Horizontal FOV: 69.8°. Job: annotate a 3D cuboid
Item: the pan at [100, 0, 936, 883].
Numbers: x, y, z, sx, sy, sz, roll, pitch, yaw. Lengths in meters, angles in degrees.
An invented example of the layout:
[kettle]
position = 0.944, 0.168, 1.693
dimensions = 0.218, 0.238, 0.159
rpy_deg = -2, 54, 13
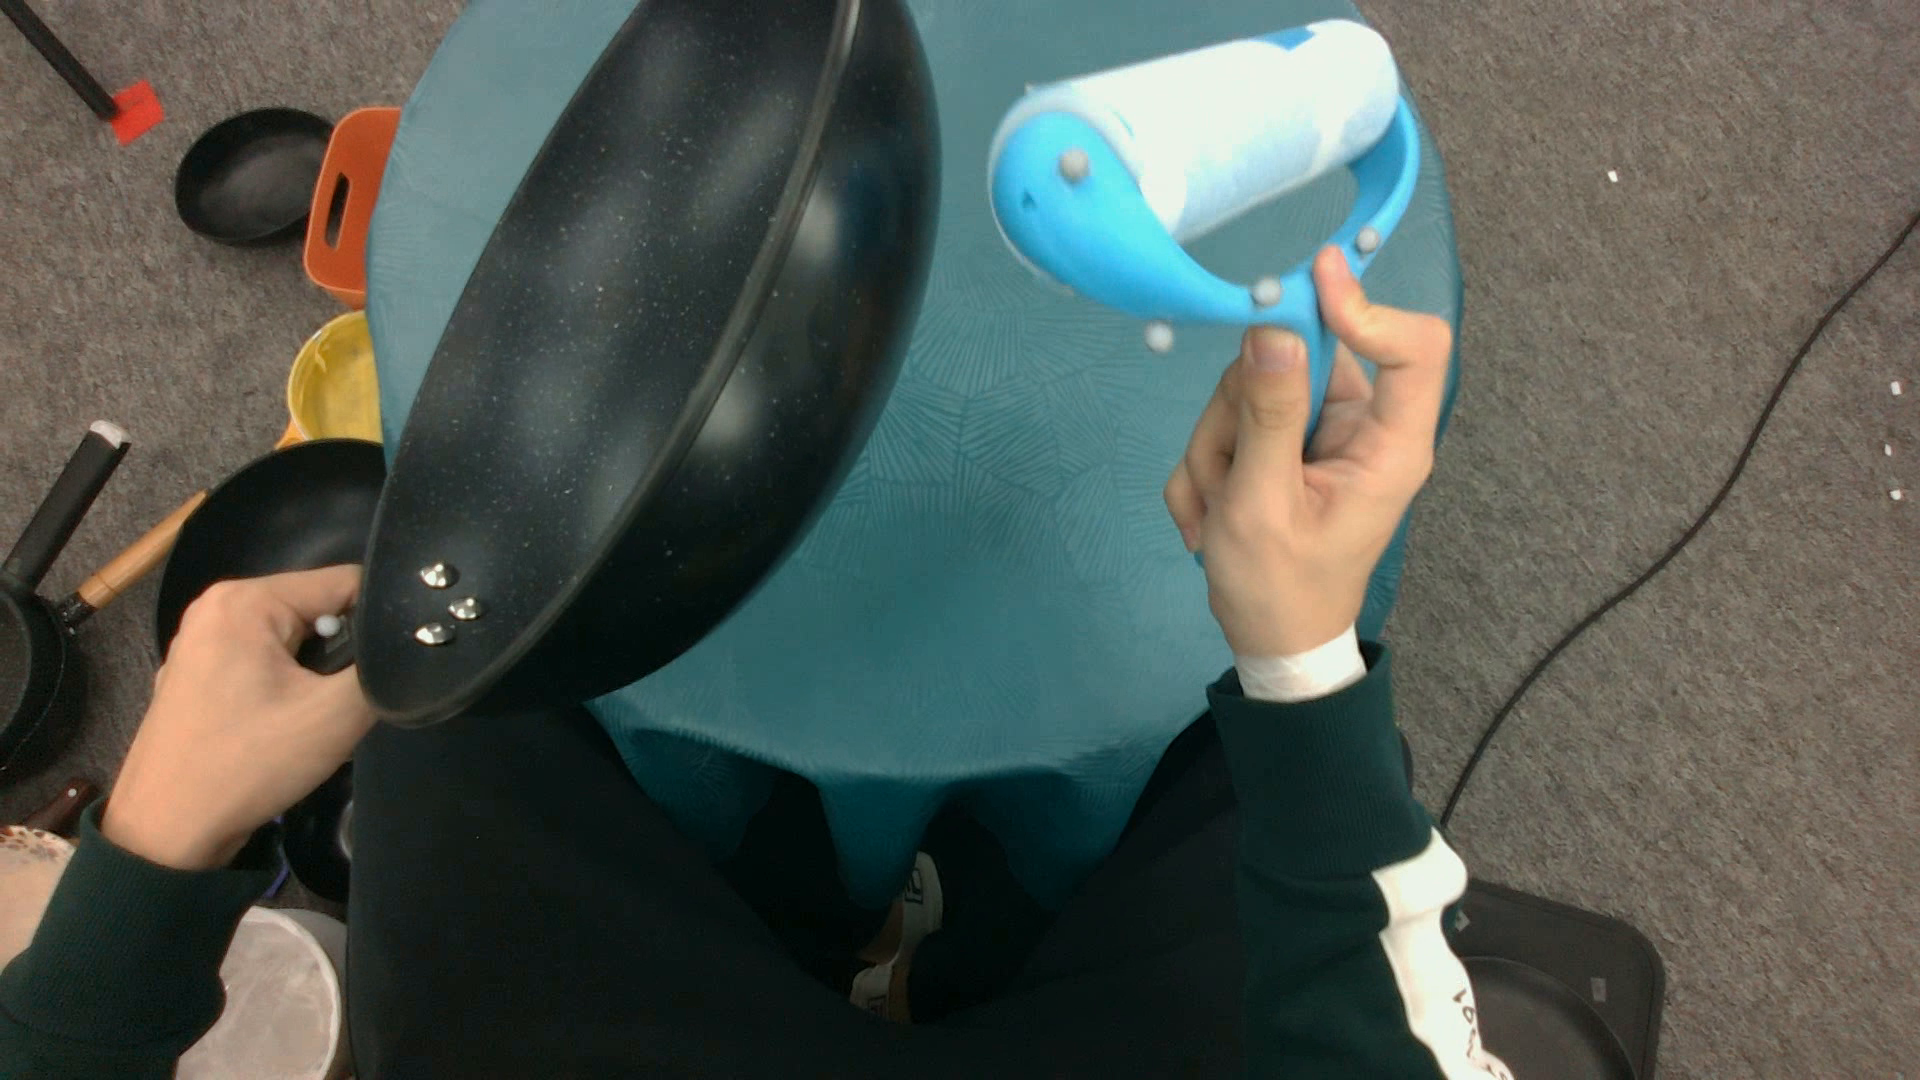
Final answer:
[pan]
position = -0.162, -0.021, 0.510
dimensions = 0.475, 0.111, 0.311
rpy_deg = -50, 35, 18

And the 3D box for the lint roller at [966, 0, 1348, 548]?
[lint roller]
position = 0.085, -0.080, 0.467
dimensions = 0.068, 0.180, 0.230
rpy_deg = -2, 29, 30
